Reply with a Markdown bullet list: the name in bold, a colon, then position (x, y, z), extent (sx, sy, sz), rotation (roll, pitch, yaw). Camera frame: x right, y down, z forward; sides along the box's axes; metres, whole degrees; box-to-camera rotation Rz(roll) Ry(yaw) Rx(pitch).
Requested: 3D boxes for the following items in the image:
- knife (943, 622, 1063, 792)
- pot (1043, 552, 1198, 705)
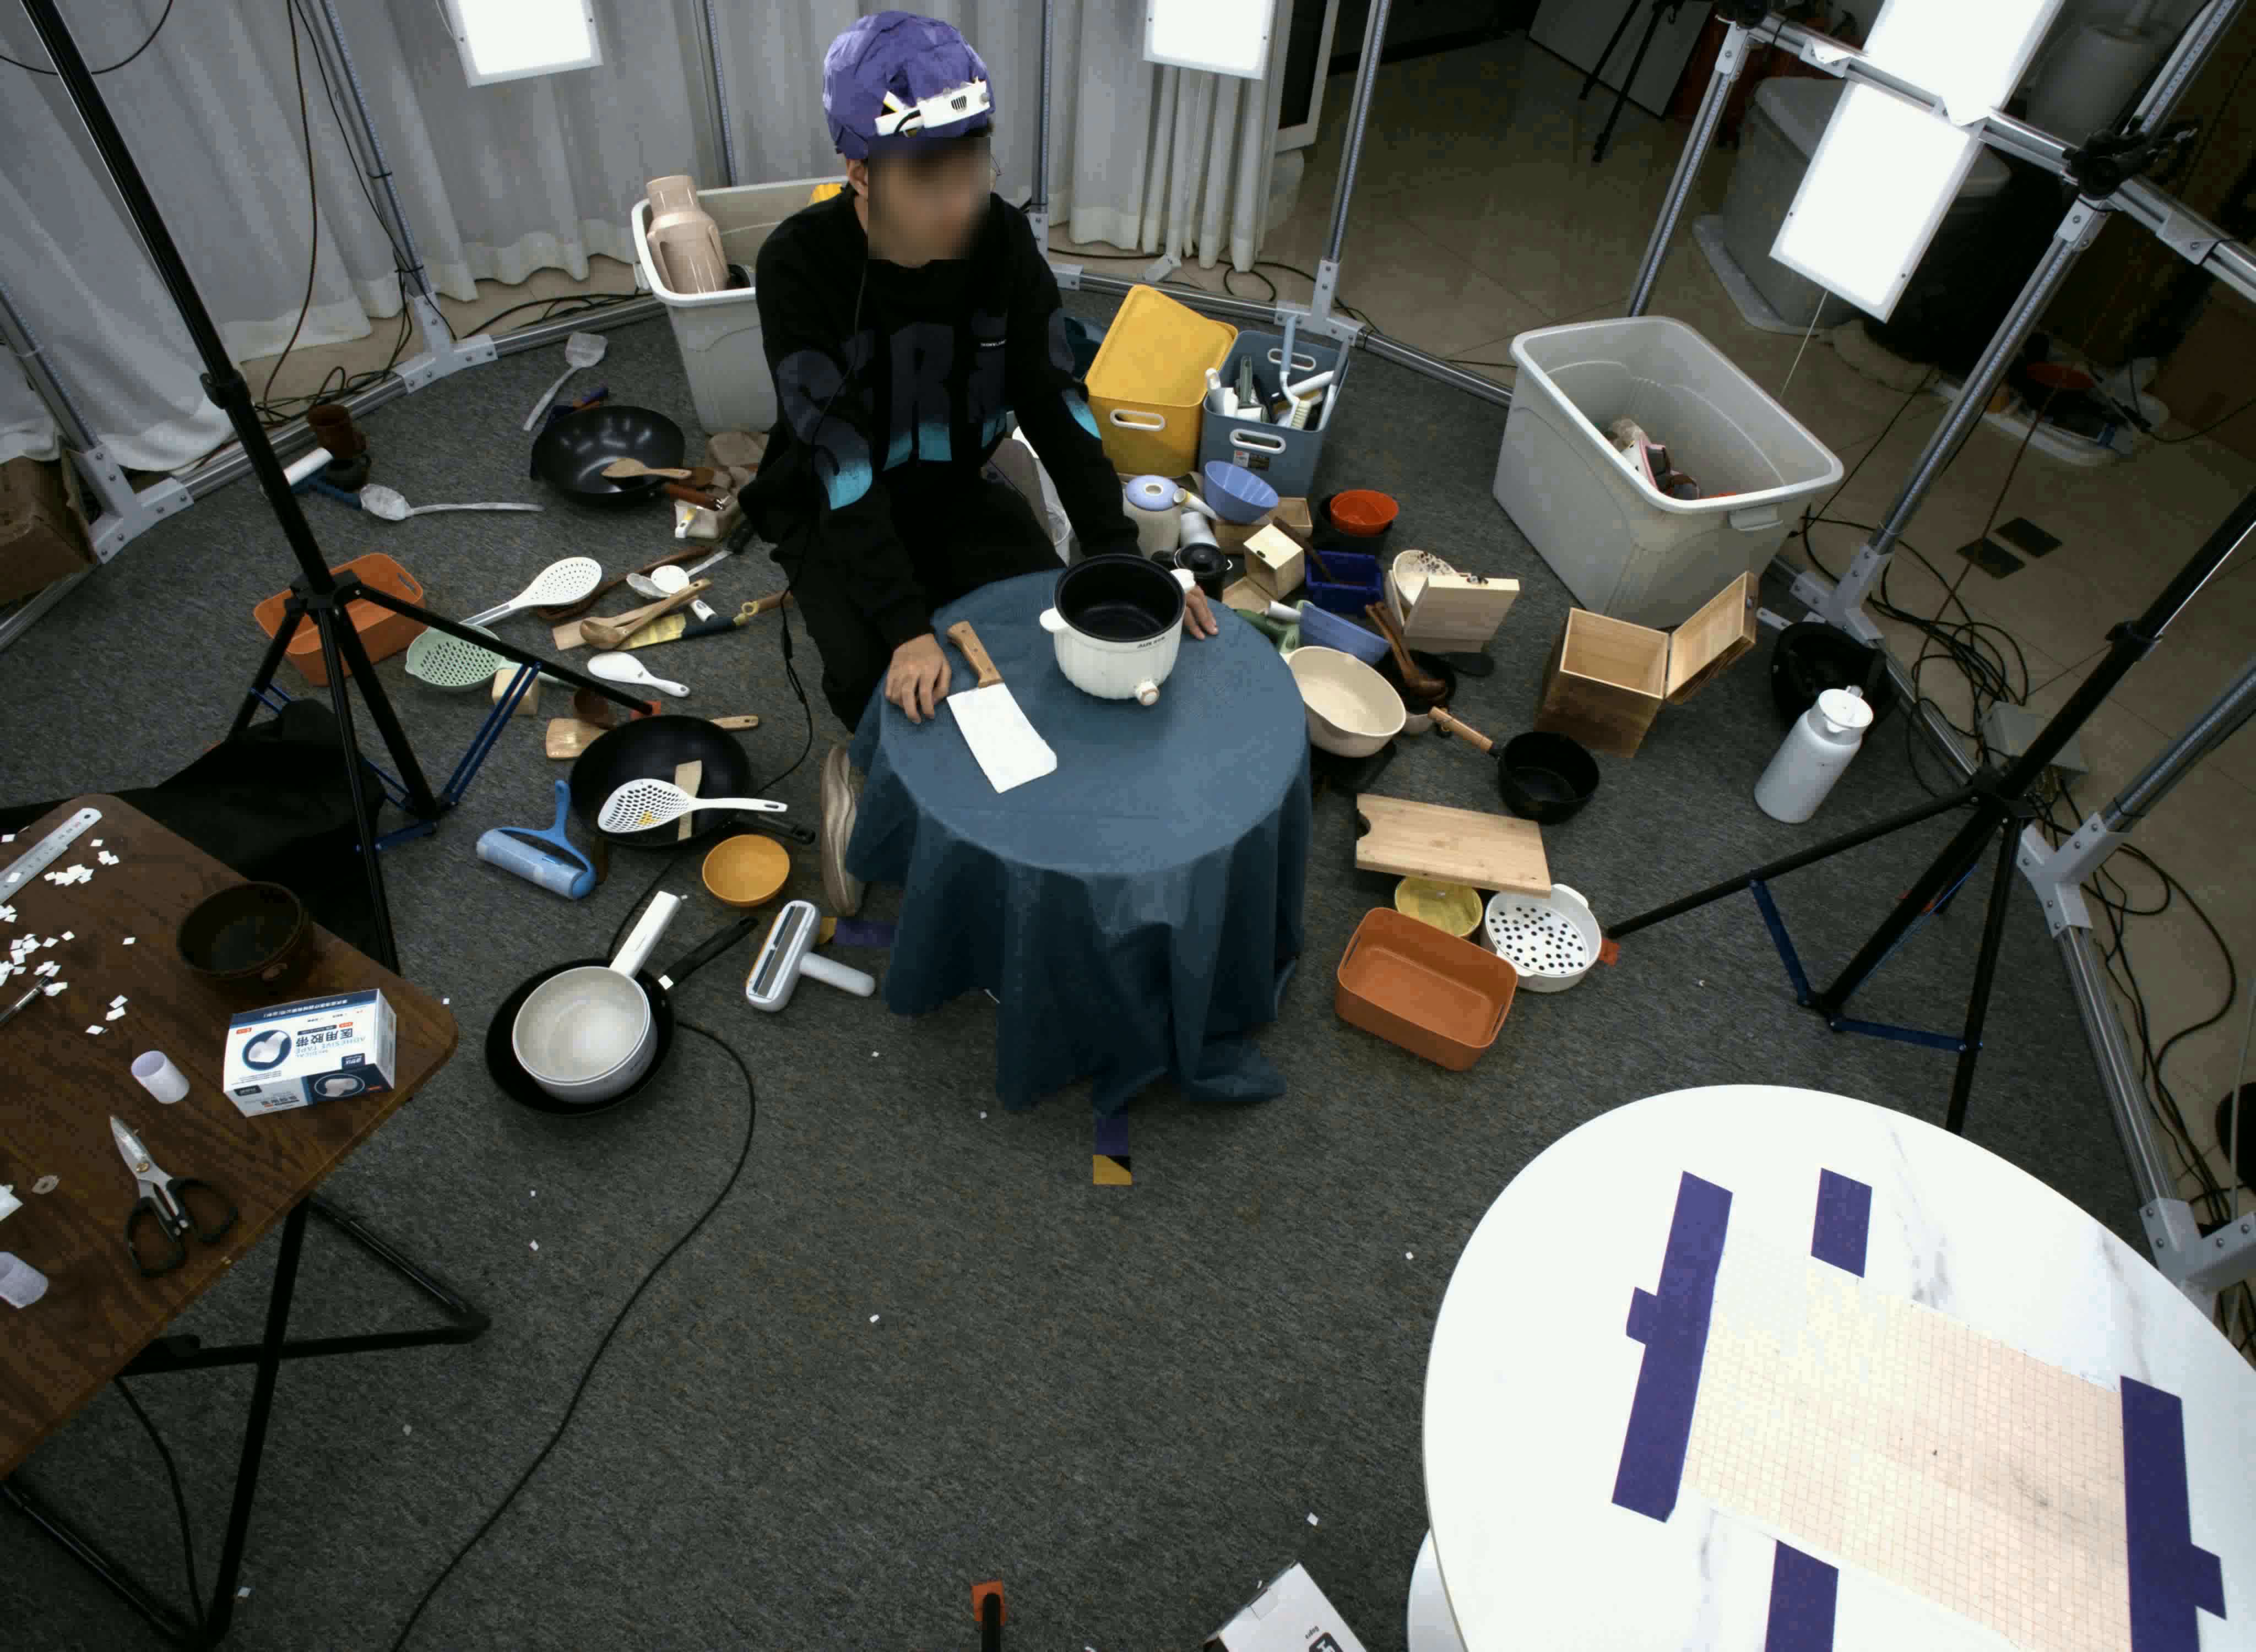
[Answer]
- **knife**: position (-0.189, -0.173, 1.795), extent (0.114, 0.021, 0.322), rotation (-16, 54, -17)
- **pot**: position (-0.007, -0.272, 1.814), extent (0.241, 0.139, 0.194), rotation (-22, 51, -20)
